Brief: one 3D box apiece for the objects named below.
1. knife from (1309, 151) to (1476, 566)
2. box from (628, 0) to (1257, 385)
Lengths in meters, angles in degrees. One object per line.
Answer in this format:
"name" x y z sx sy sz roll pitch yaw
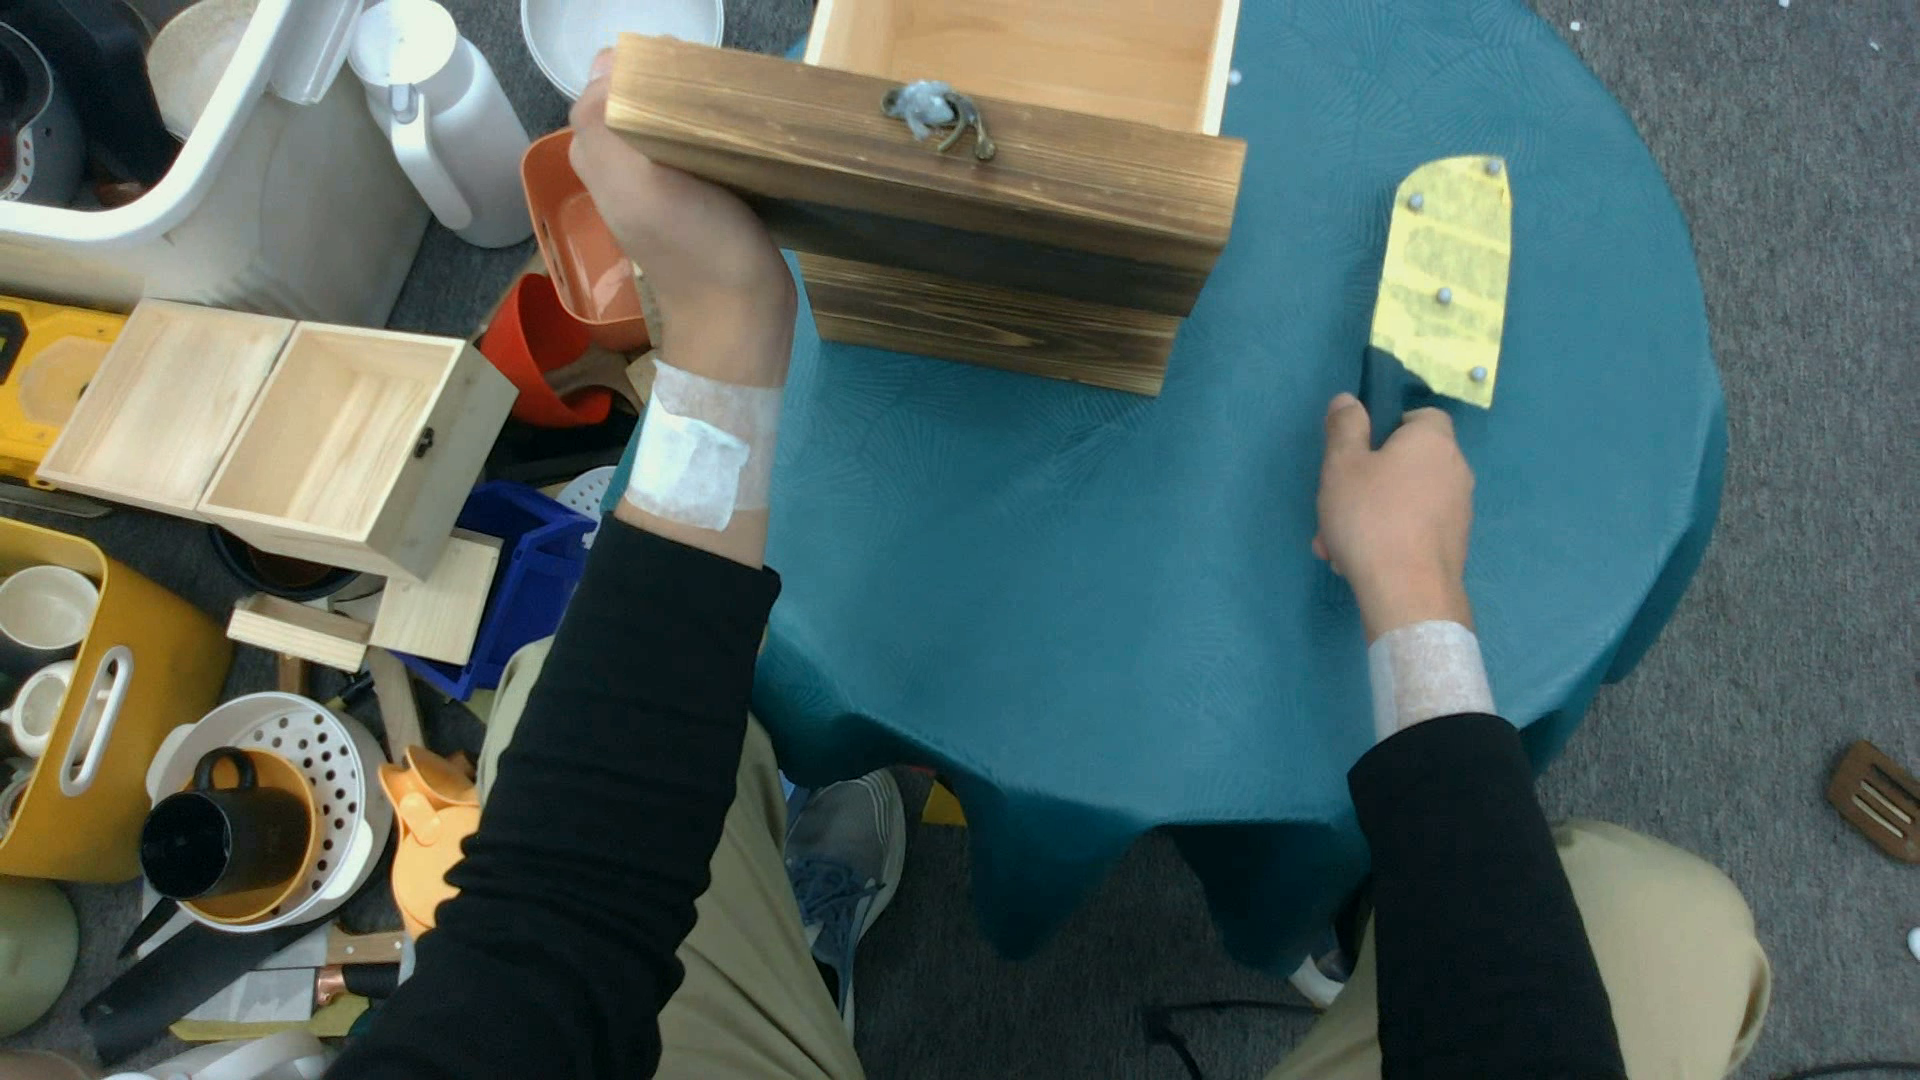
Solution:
"knife" 0.244 -0.108 0.766 0.081 0.027 0.290 21 66 -1
"box" 0.014 -0.206 0.641 0.209 0.374 0.323 10 73 3
